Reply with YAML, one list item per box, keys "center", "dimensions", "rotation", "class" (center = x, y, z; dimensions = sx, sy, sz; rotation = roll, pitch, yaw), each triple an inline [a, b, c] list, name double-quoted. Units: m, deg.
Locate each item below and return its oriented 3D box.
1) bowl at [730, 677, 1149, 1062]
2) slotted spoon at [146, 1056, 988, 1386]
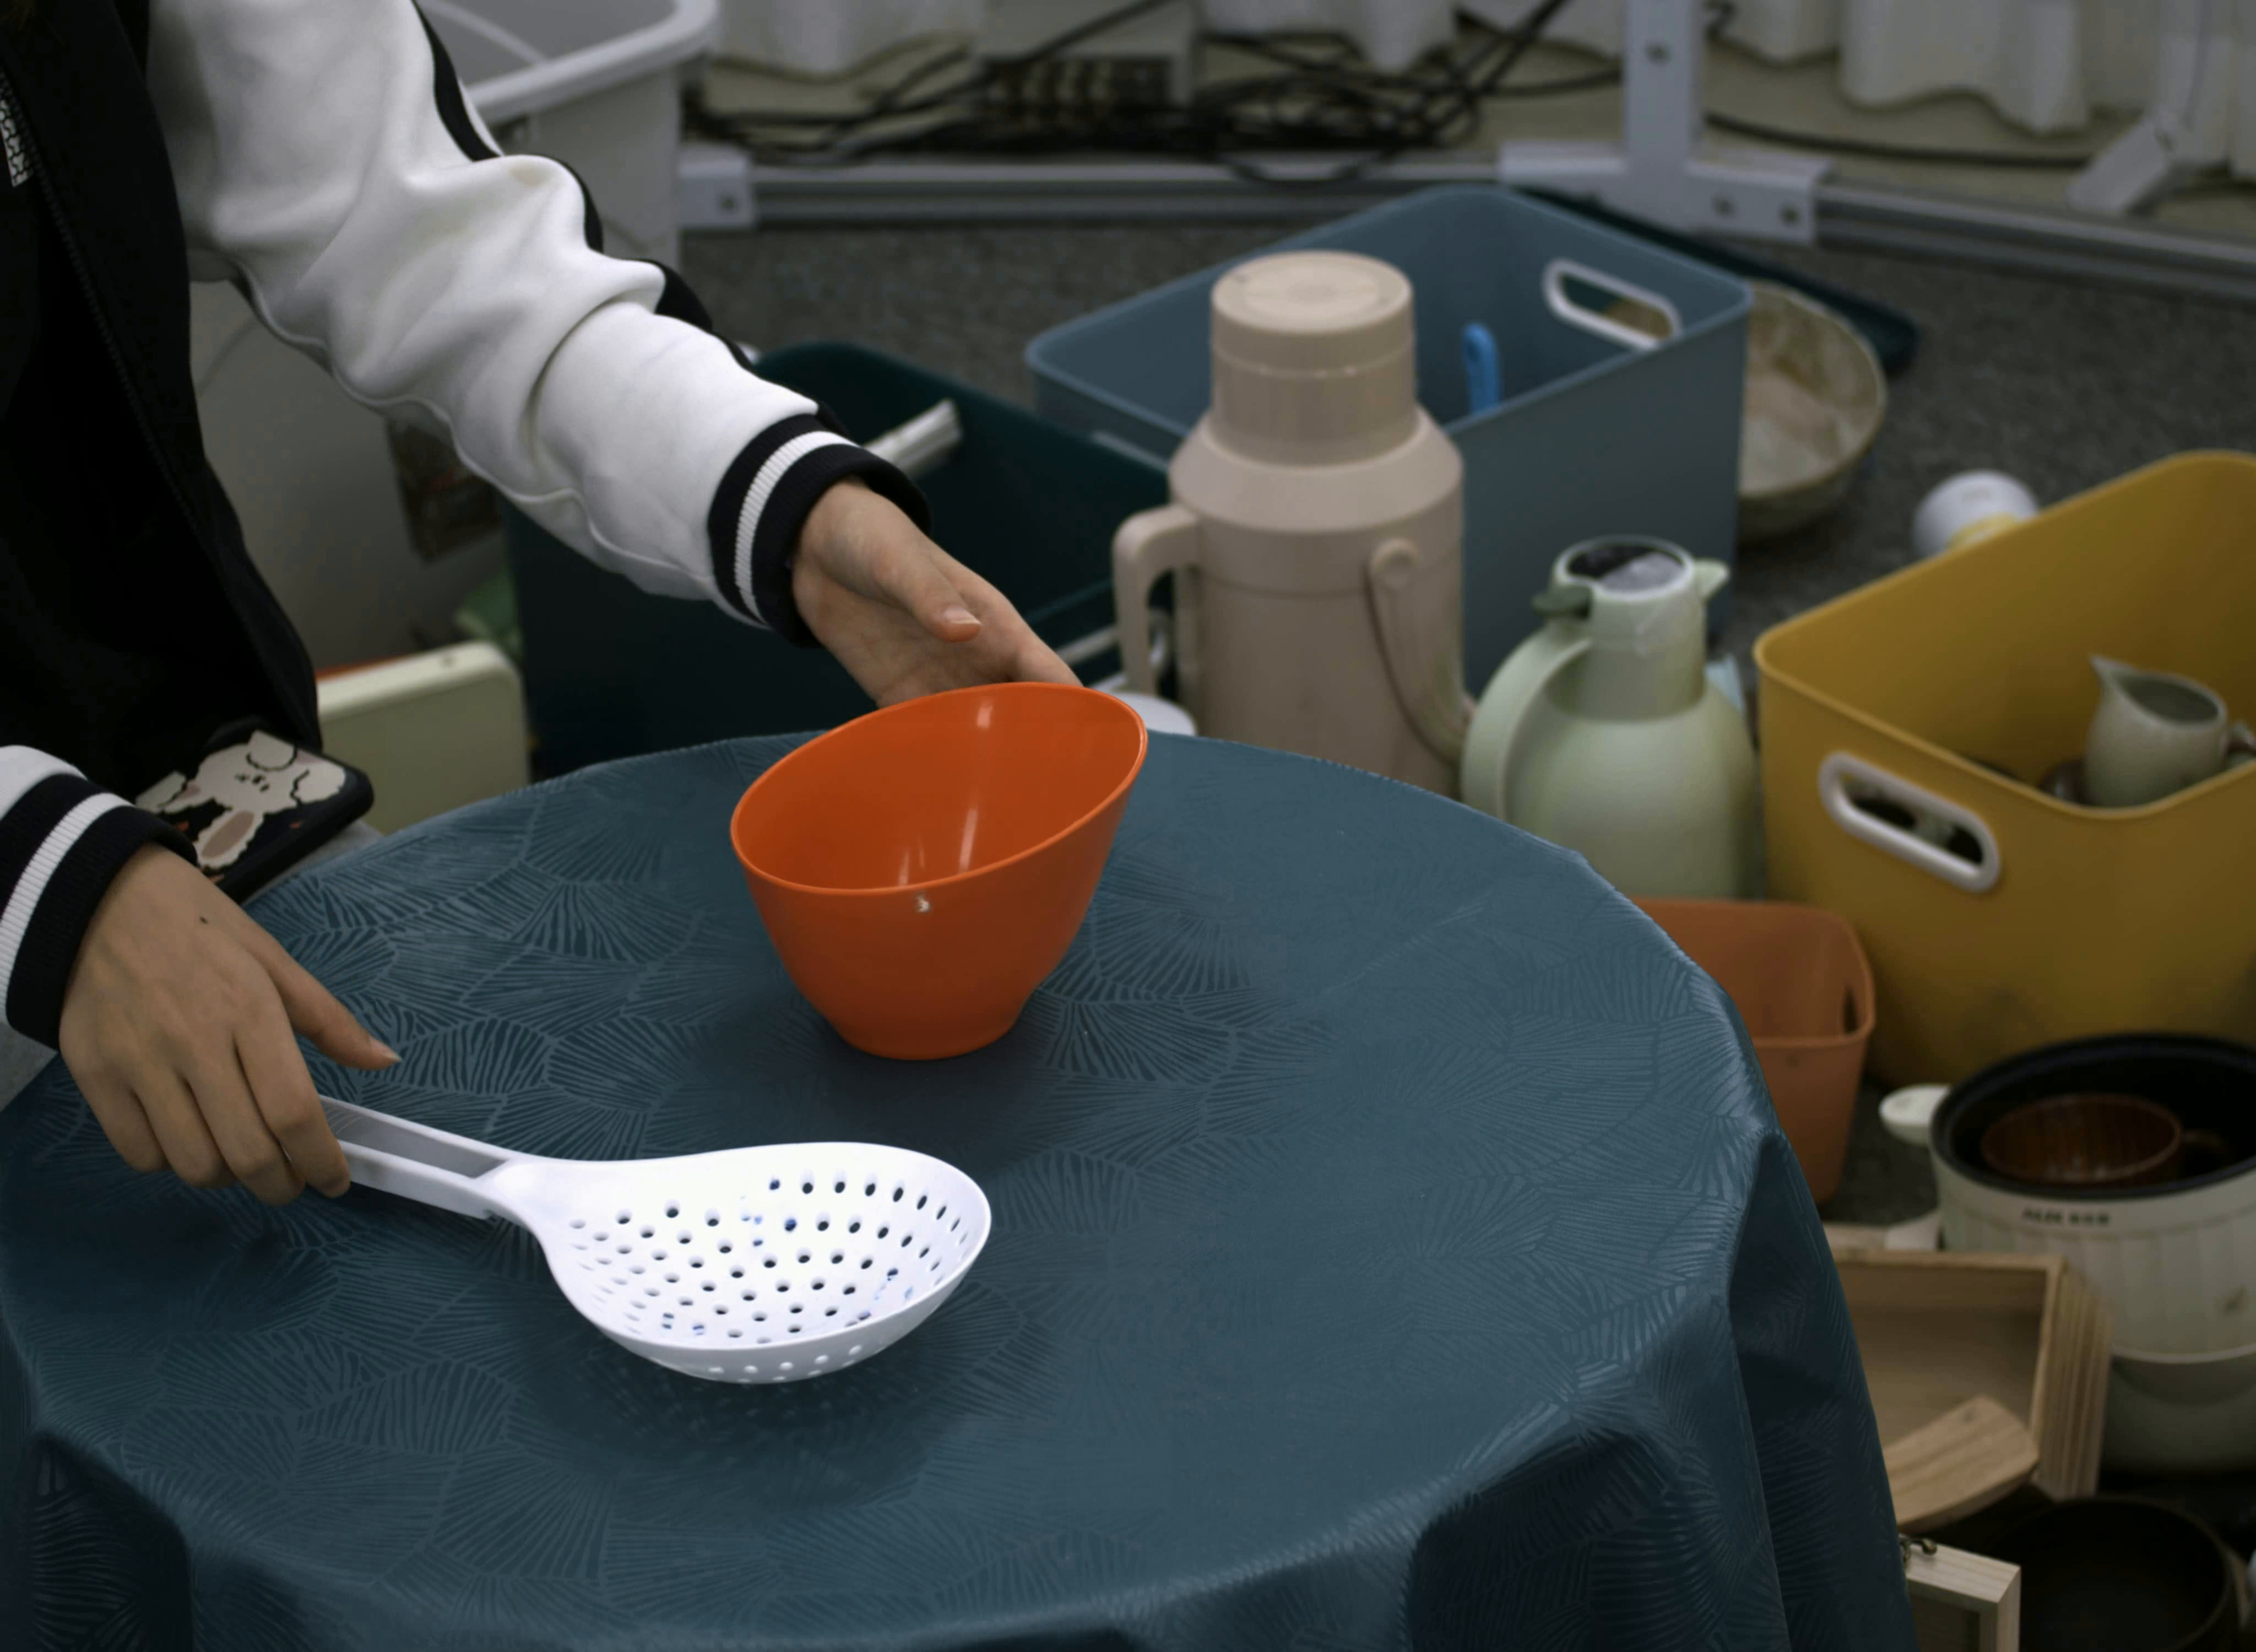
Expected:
- center: [-0.062, 0.022, 1.950]
  dimensions: [0.147, 0.103, 0.150]
  rotation: [-3, 30, 2]
  class: "bowl"
- center: [-0.195, 0.120, 1.834]
  dimensions: [0.348, 0.045, 0.138]
  rotation: [17, 31, 34]
  class: "slotted spoon"
